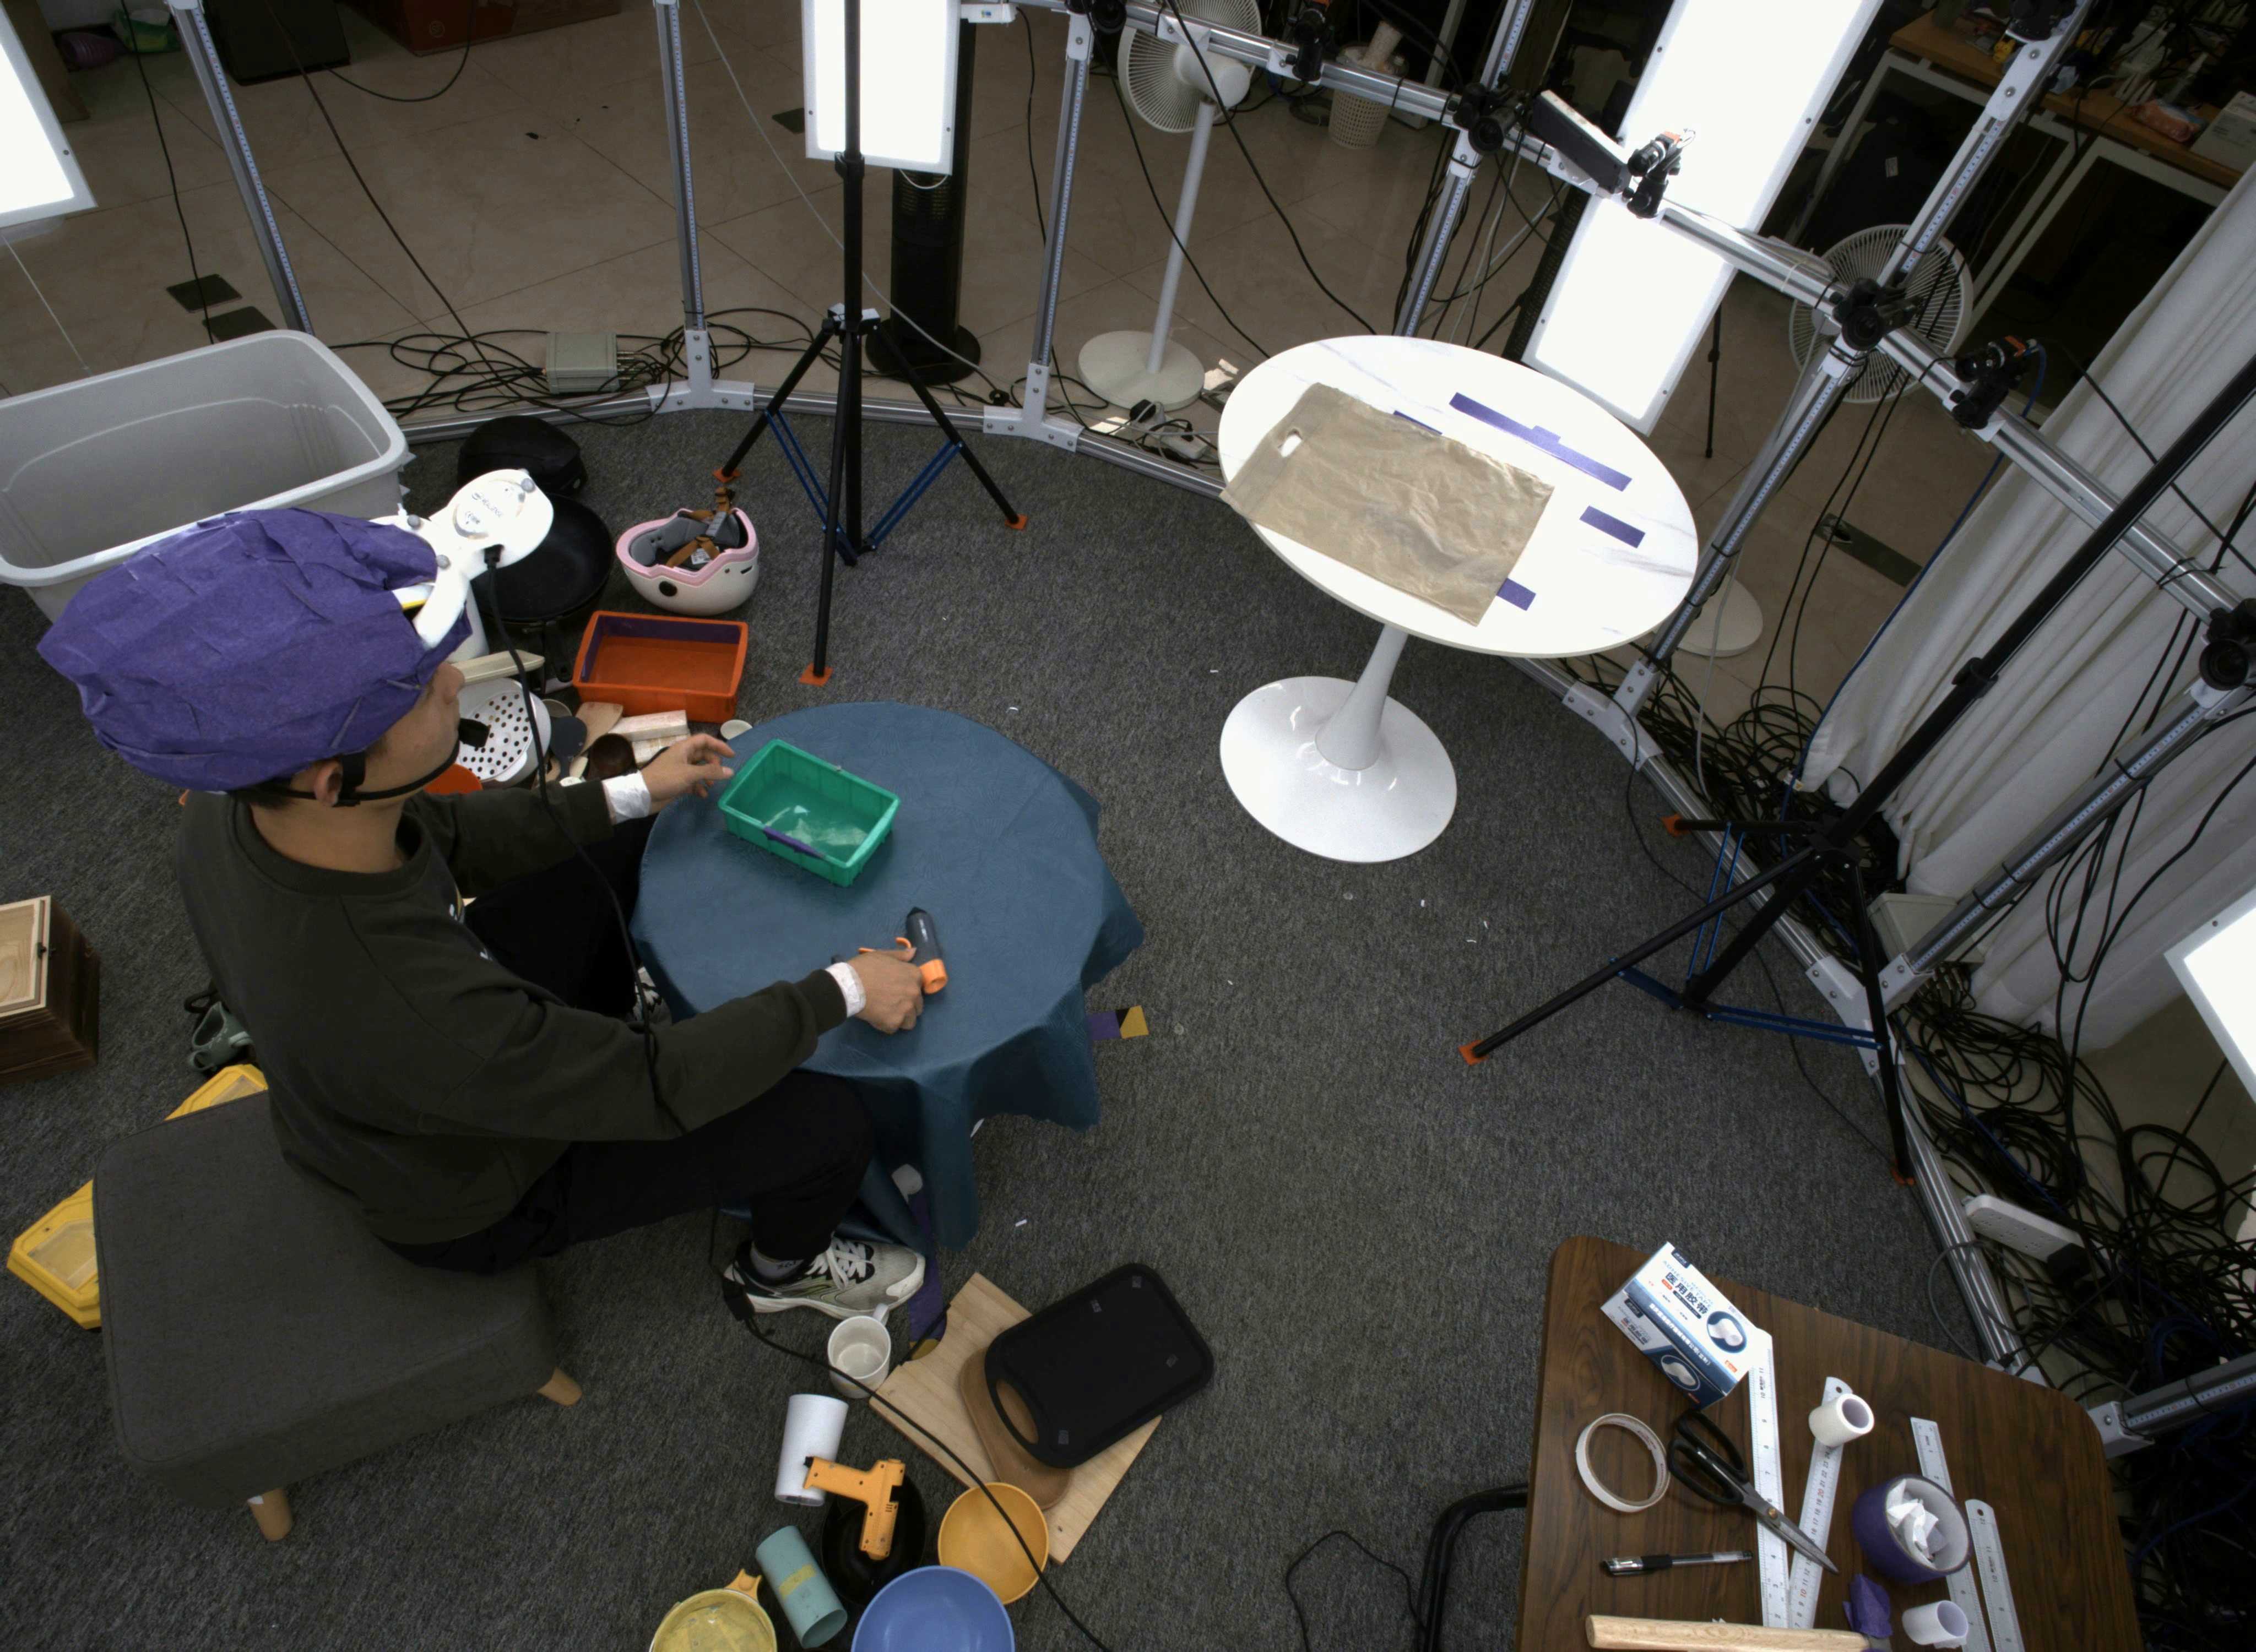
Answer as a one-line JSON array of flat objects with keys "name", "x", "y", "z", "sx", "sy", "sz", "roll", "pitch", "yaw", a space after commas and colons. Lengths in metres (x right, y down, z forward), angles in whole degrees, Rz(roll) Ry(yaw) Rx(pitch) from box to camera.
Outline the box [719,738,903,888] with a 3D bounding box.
[{"name": "box", "x": -0.412, "y": -0.015, "z": 1.693, "sx": 0.208, "sy": 0.066, "sz": 0.137, "roll": 25, "pitch": 53, "yaw": 3}]

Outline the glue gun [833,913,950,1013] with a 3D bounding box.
[{"name": "glue gun", "x": -0.289, "y": 0.165, "z": 1.608, "sx": 0.140, "sy": 0.042, "sz": 0.114, "roll": -24, "pitch": 49, "yaw": -29}]
